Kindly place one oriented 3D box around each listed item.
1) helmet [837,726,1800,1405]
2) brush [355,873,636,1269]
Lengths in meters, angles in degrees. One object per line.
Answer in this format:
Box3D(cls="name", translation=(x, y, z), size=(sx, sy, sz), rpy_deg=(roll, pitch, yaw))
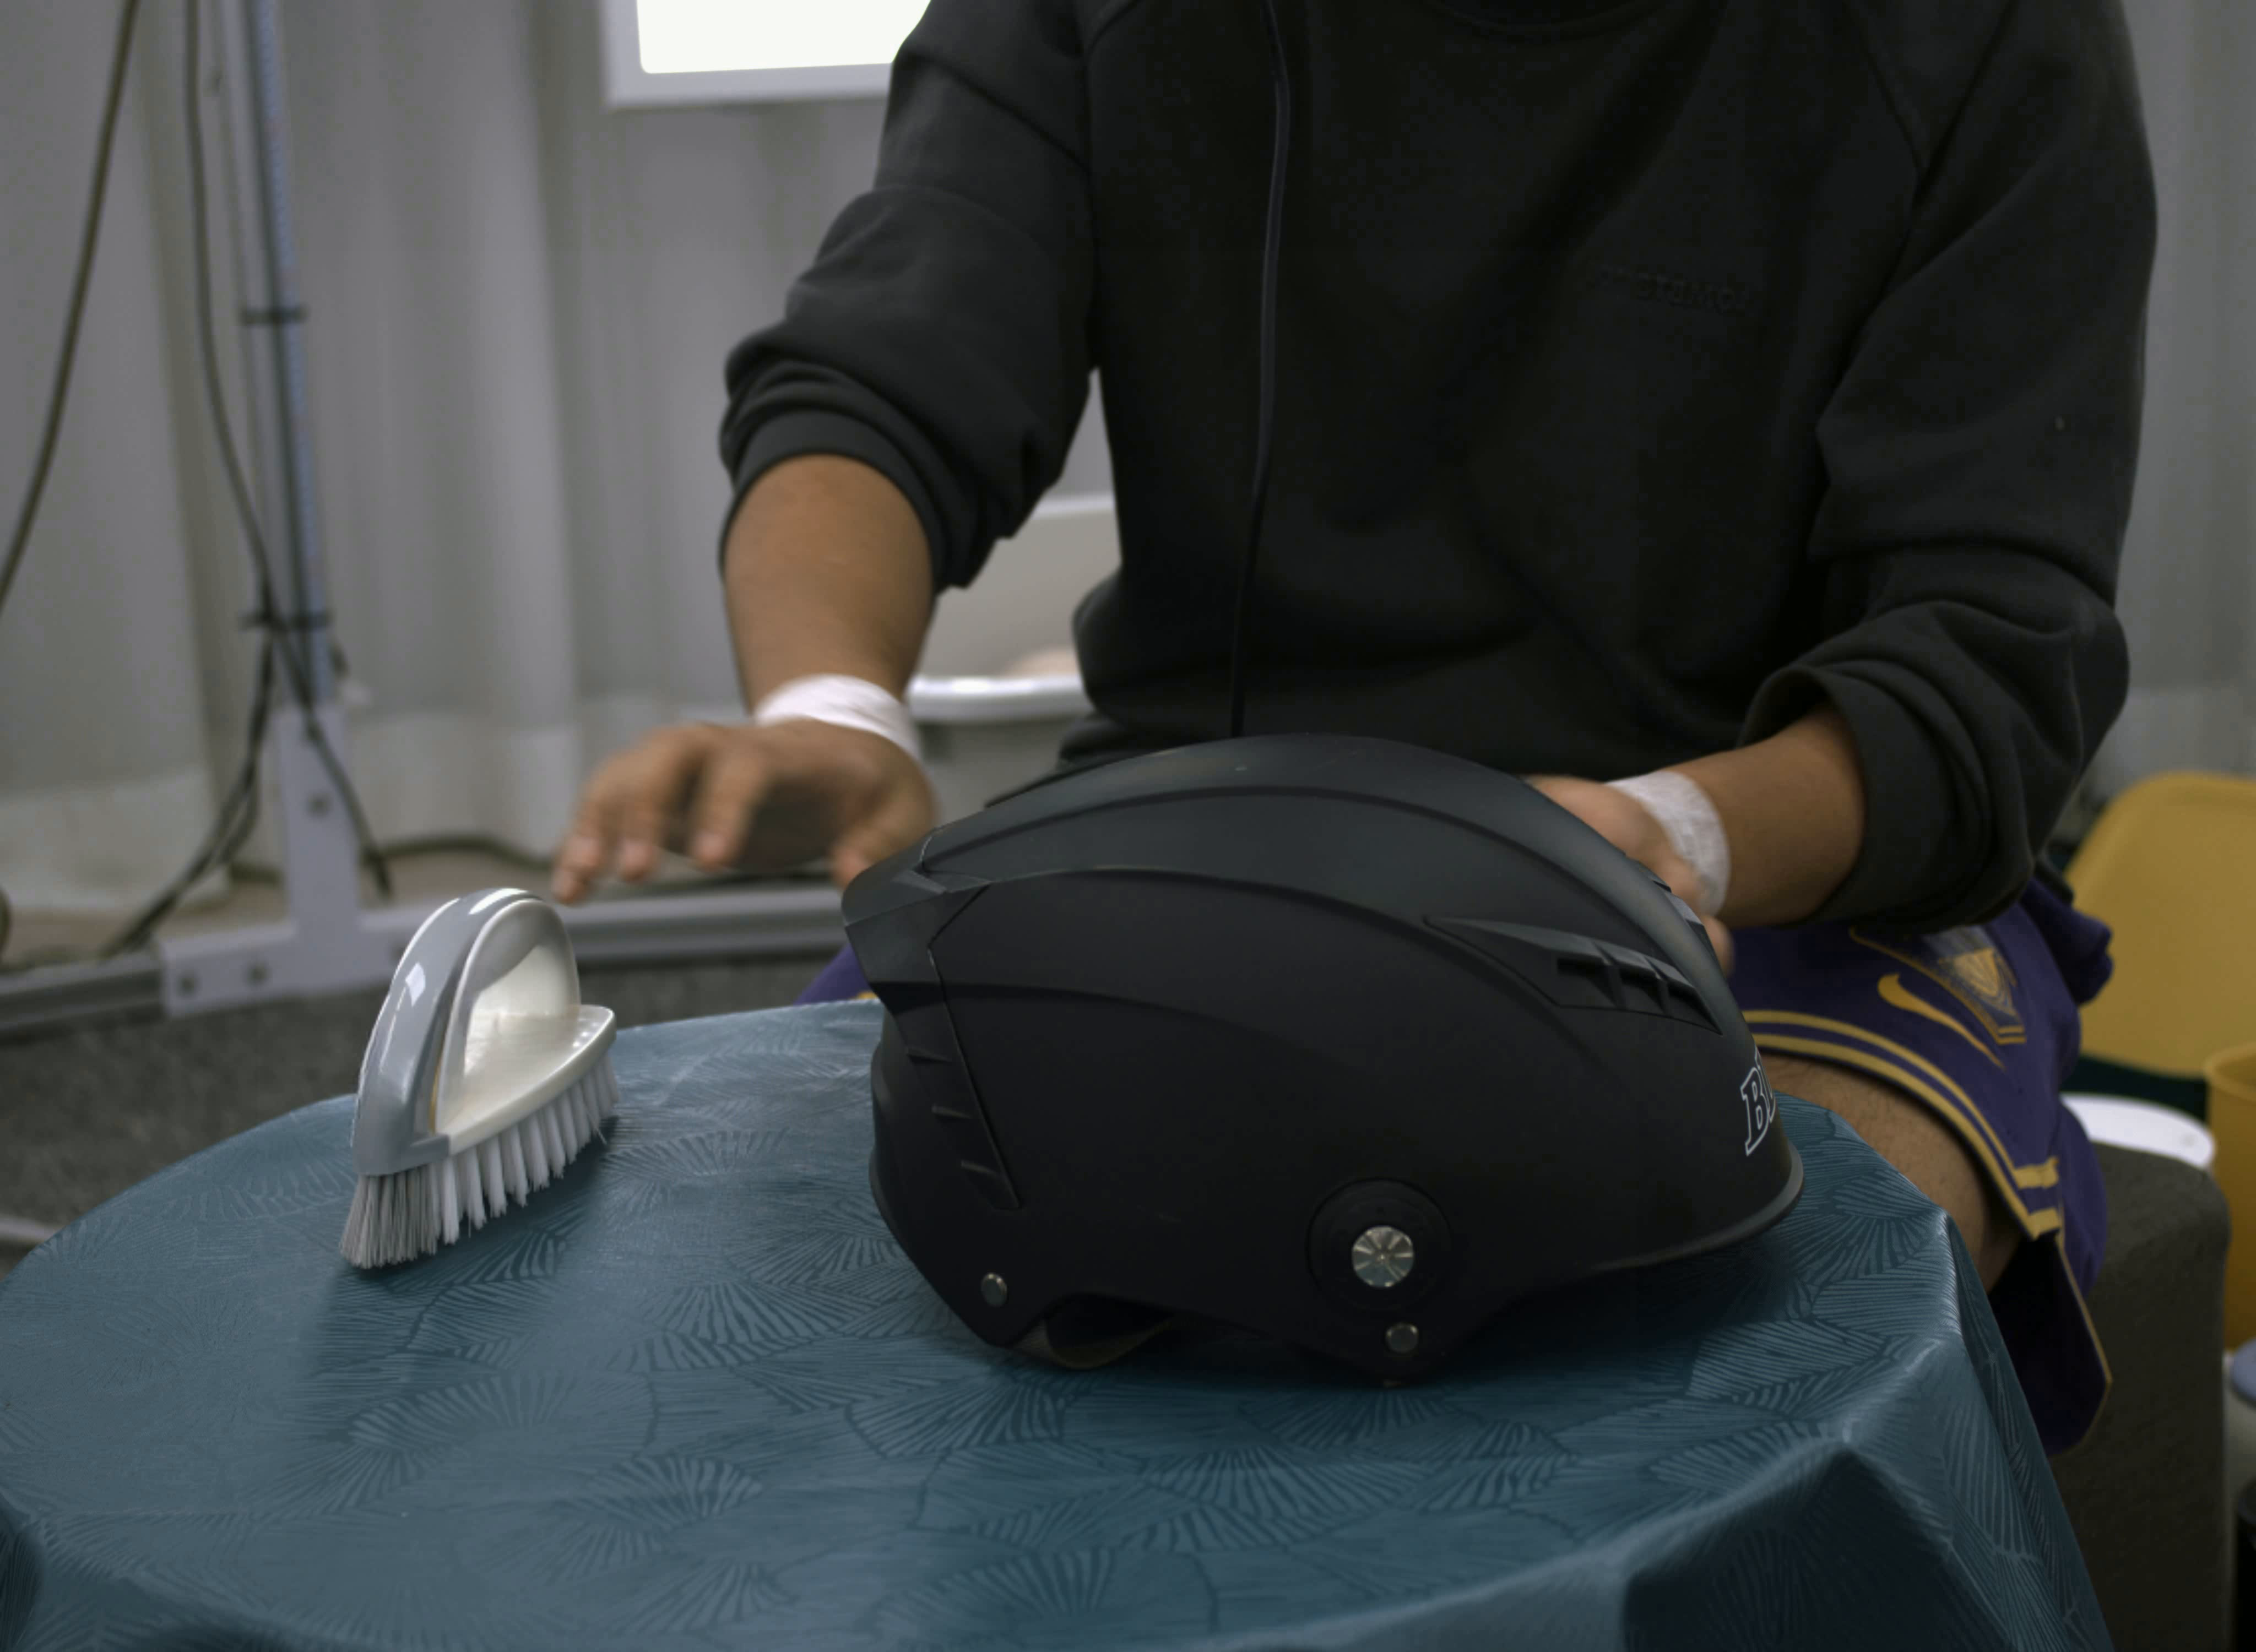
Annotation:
Box3D(cls="helmet", translation=(0.055, 0.056, 1.619), size=(0.276, 0.172, 0.248), rpy_deg=(-4, 15, 12))
Box3D(cls="brush", translation=(-0.210, 0.072, 1.741), size=(0.061, 0.094, 0.176), rpy_deg=(-1, 17, 15))
